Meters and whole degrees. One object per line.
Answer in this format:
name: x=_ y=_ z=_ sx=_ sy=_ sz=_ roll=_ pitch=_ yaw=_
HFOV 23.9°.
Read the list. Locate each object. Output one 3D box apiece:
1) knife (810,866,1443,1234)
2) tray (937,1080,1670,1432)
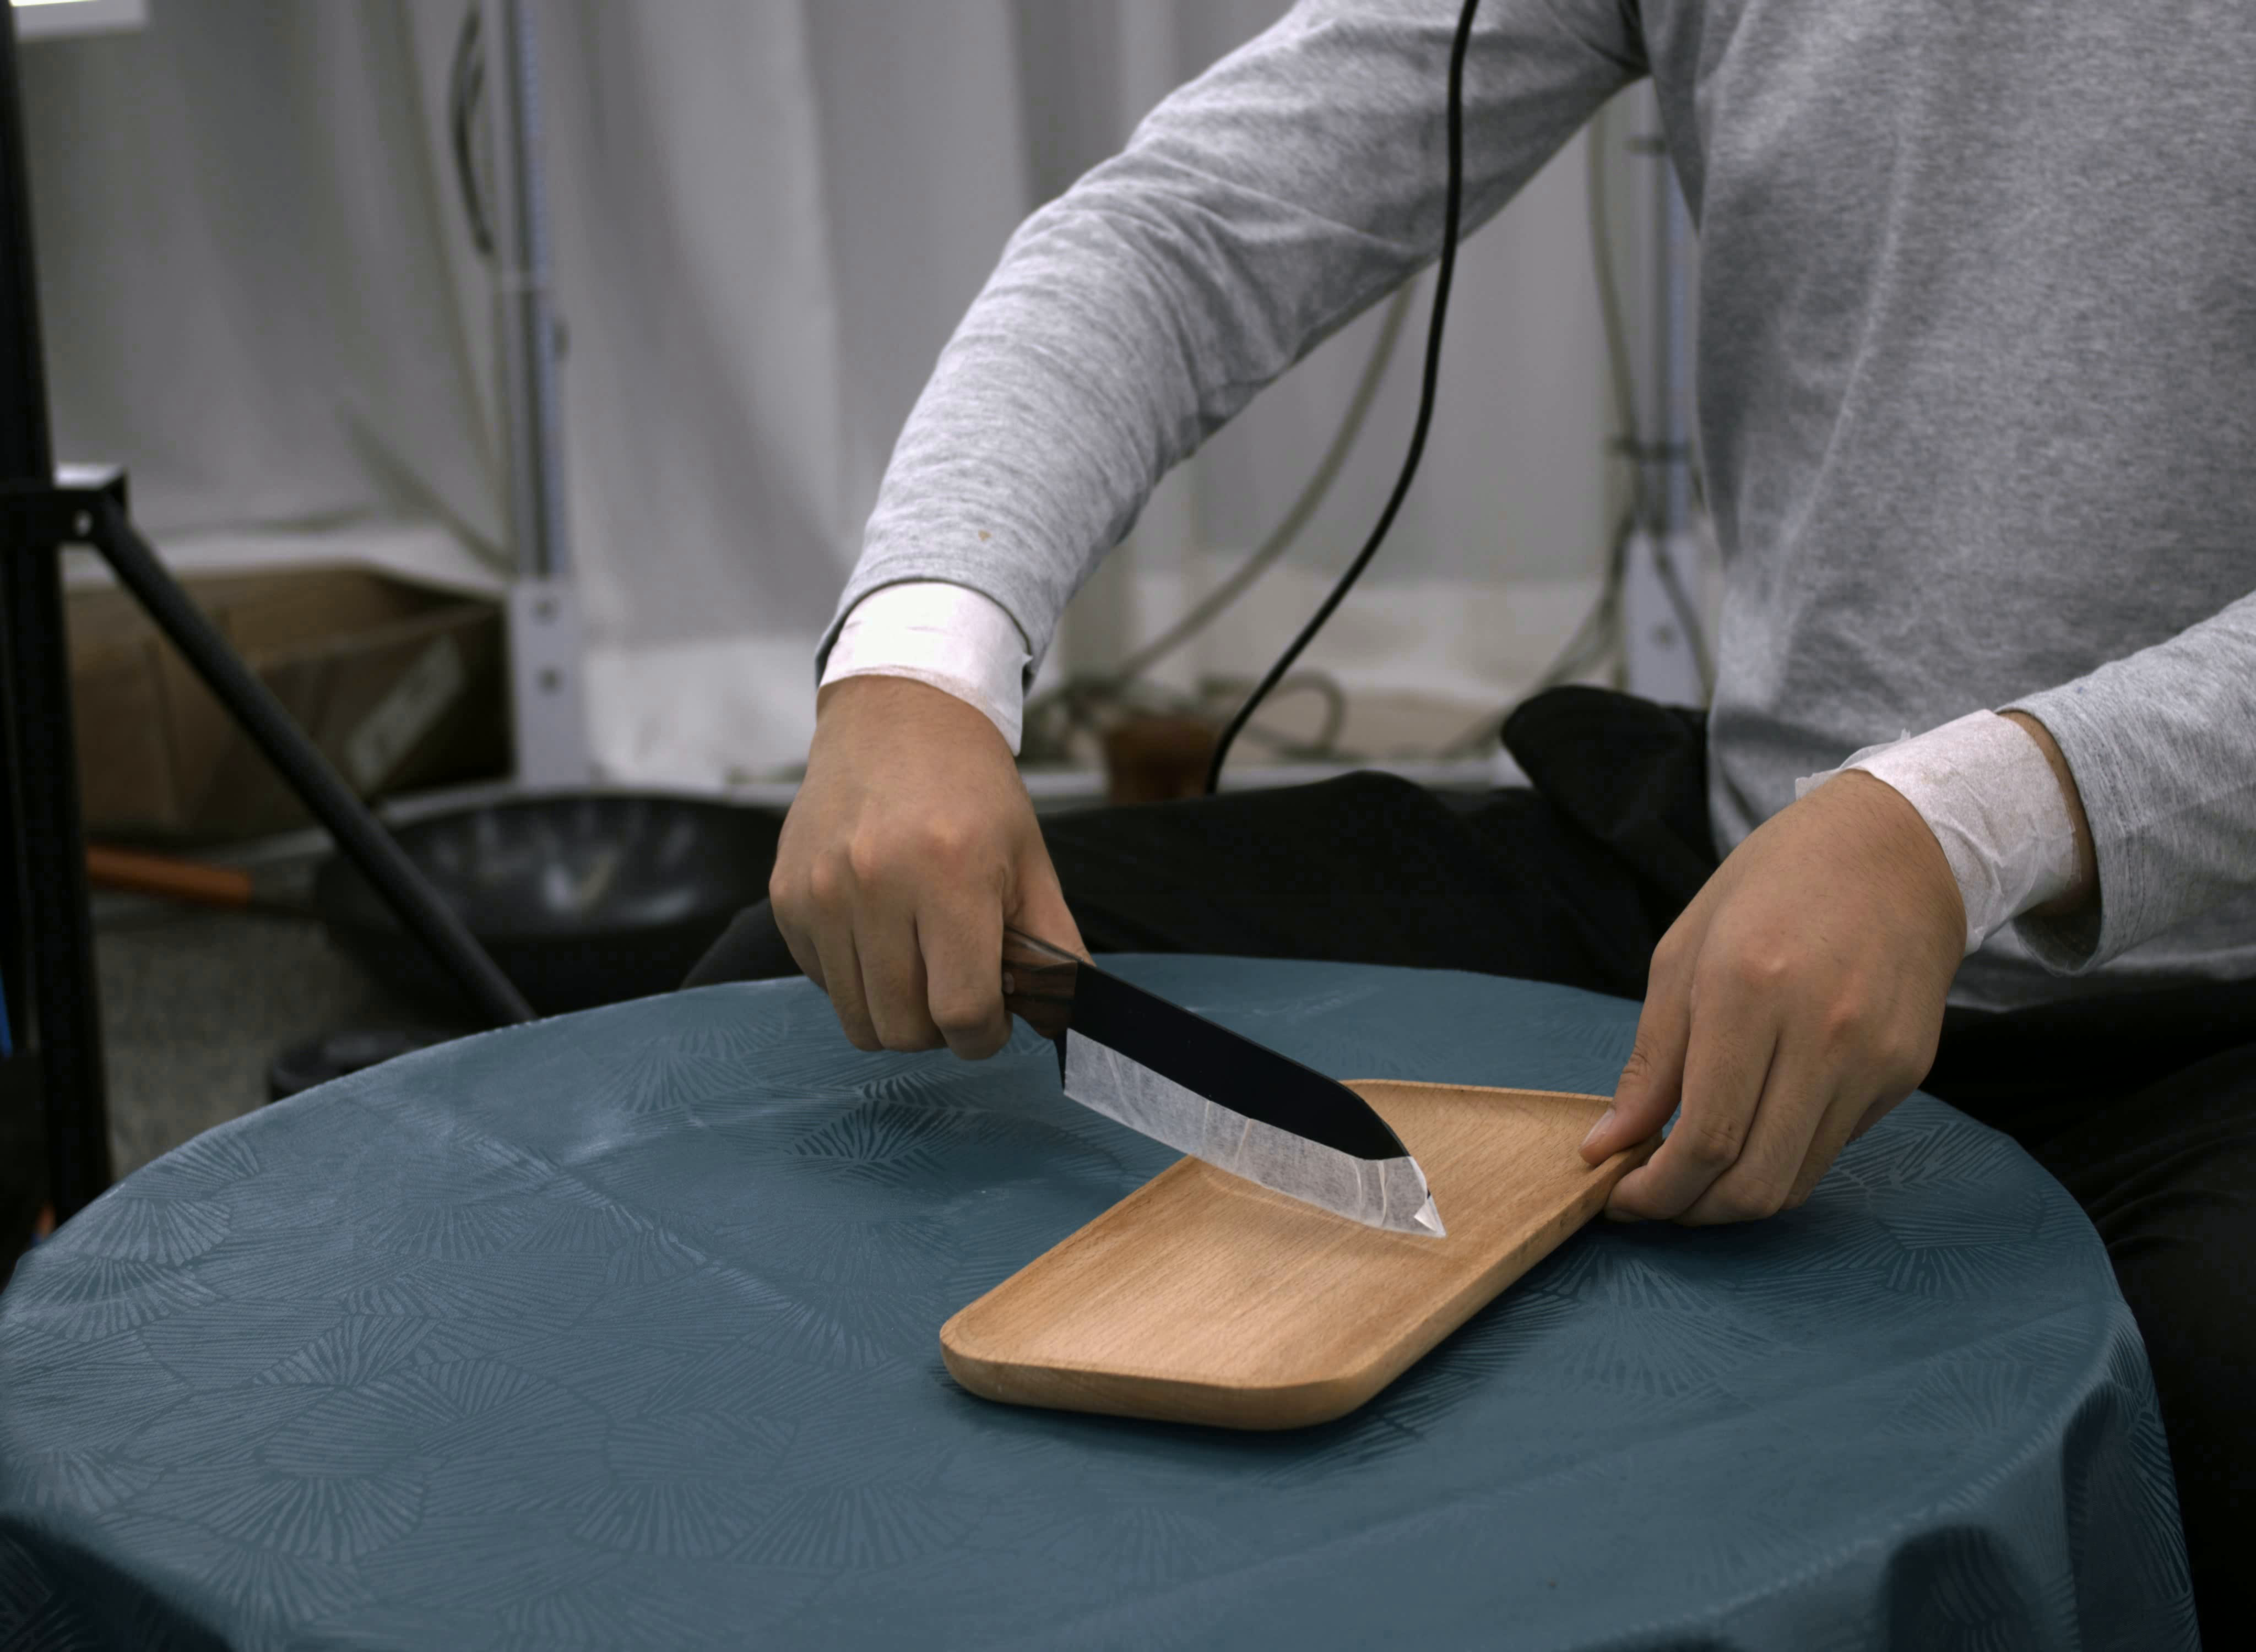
knife: x=-0.003 y=0.064 z=1.568 sx=0.019 sy=0.050 sz=0.296 roll=-12 pitch=25 yaw=-37
tray: x=0.054 y=0.117 z=1.482 sx=0.133 sy=0.023 sz=0.246 roll=6 pitch=17 yaw=29
